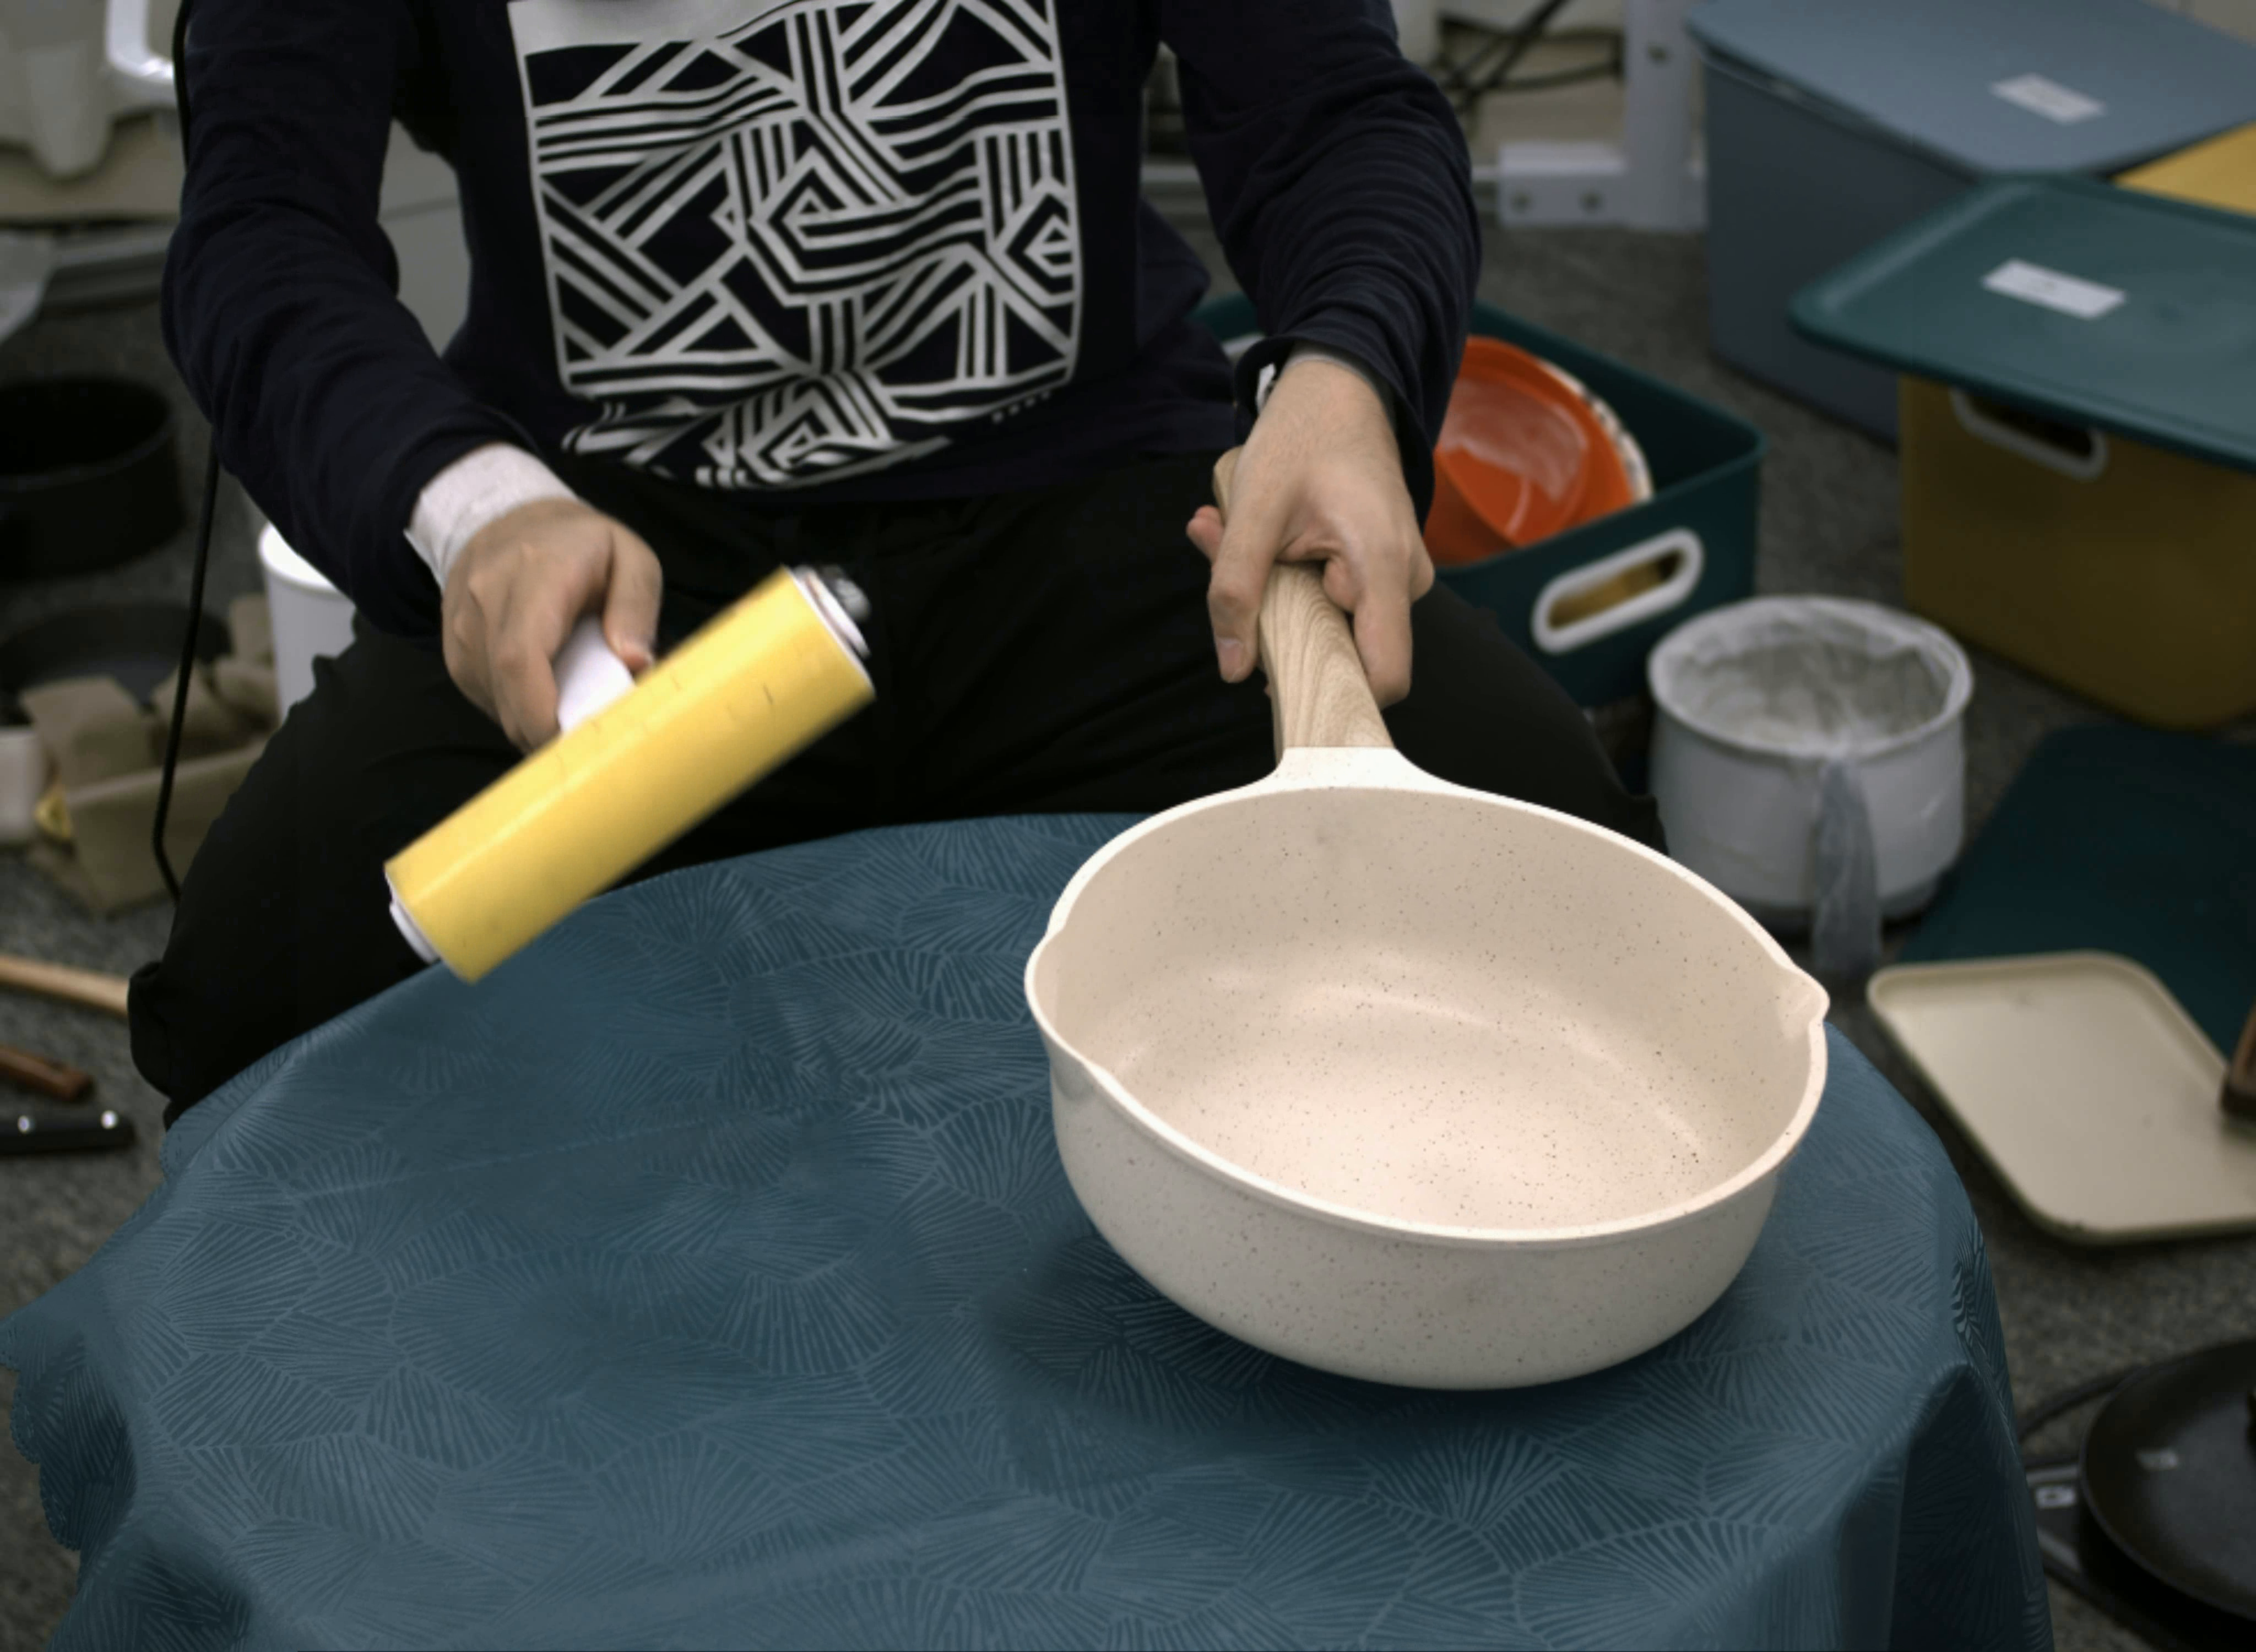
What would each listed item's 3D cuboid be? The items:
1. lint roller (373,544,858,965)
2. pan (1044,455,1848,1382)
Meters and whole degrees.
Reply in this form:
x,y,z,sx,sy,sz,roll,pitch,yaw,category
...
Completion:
x,y,z,sx,sy,sz,roll,pitch,yaw,category
-0.184,-0.050,1.856,0.174,0.051,0.193,-38,30,0,lint roller
0.082,0.028,1.869,0.263,0.100,0.441,-1,33,-13,pan
